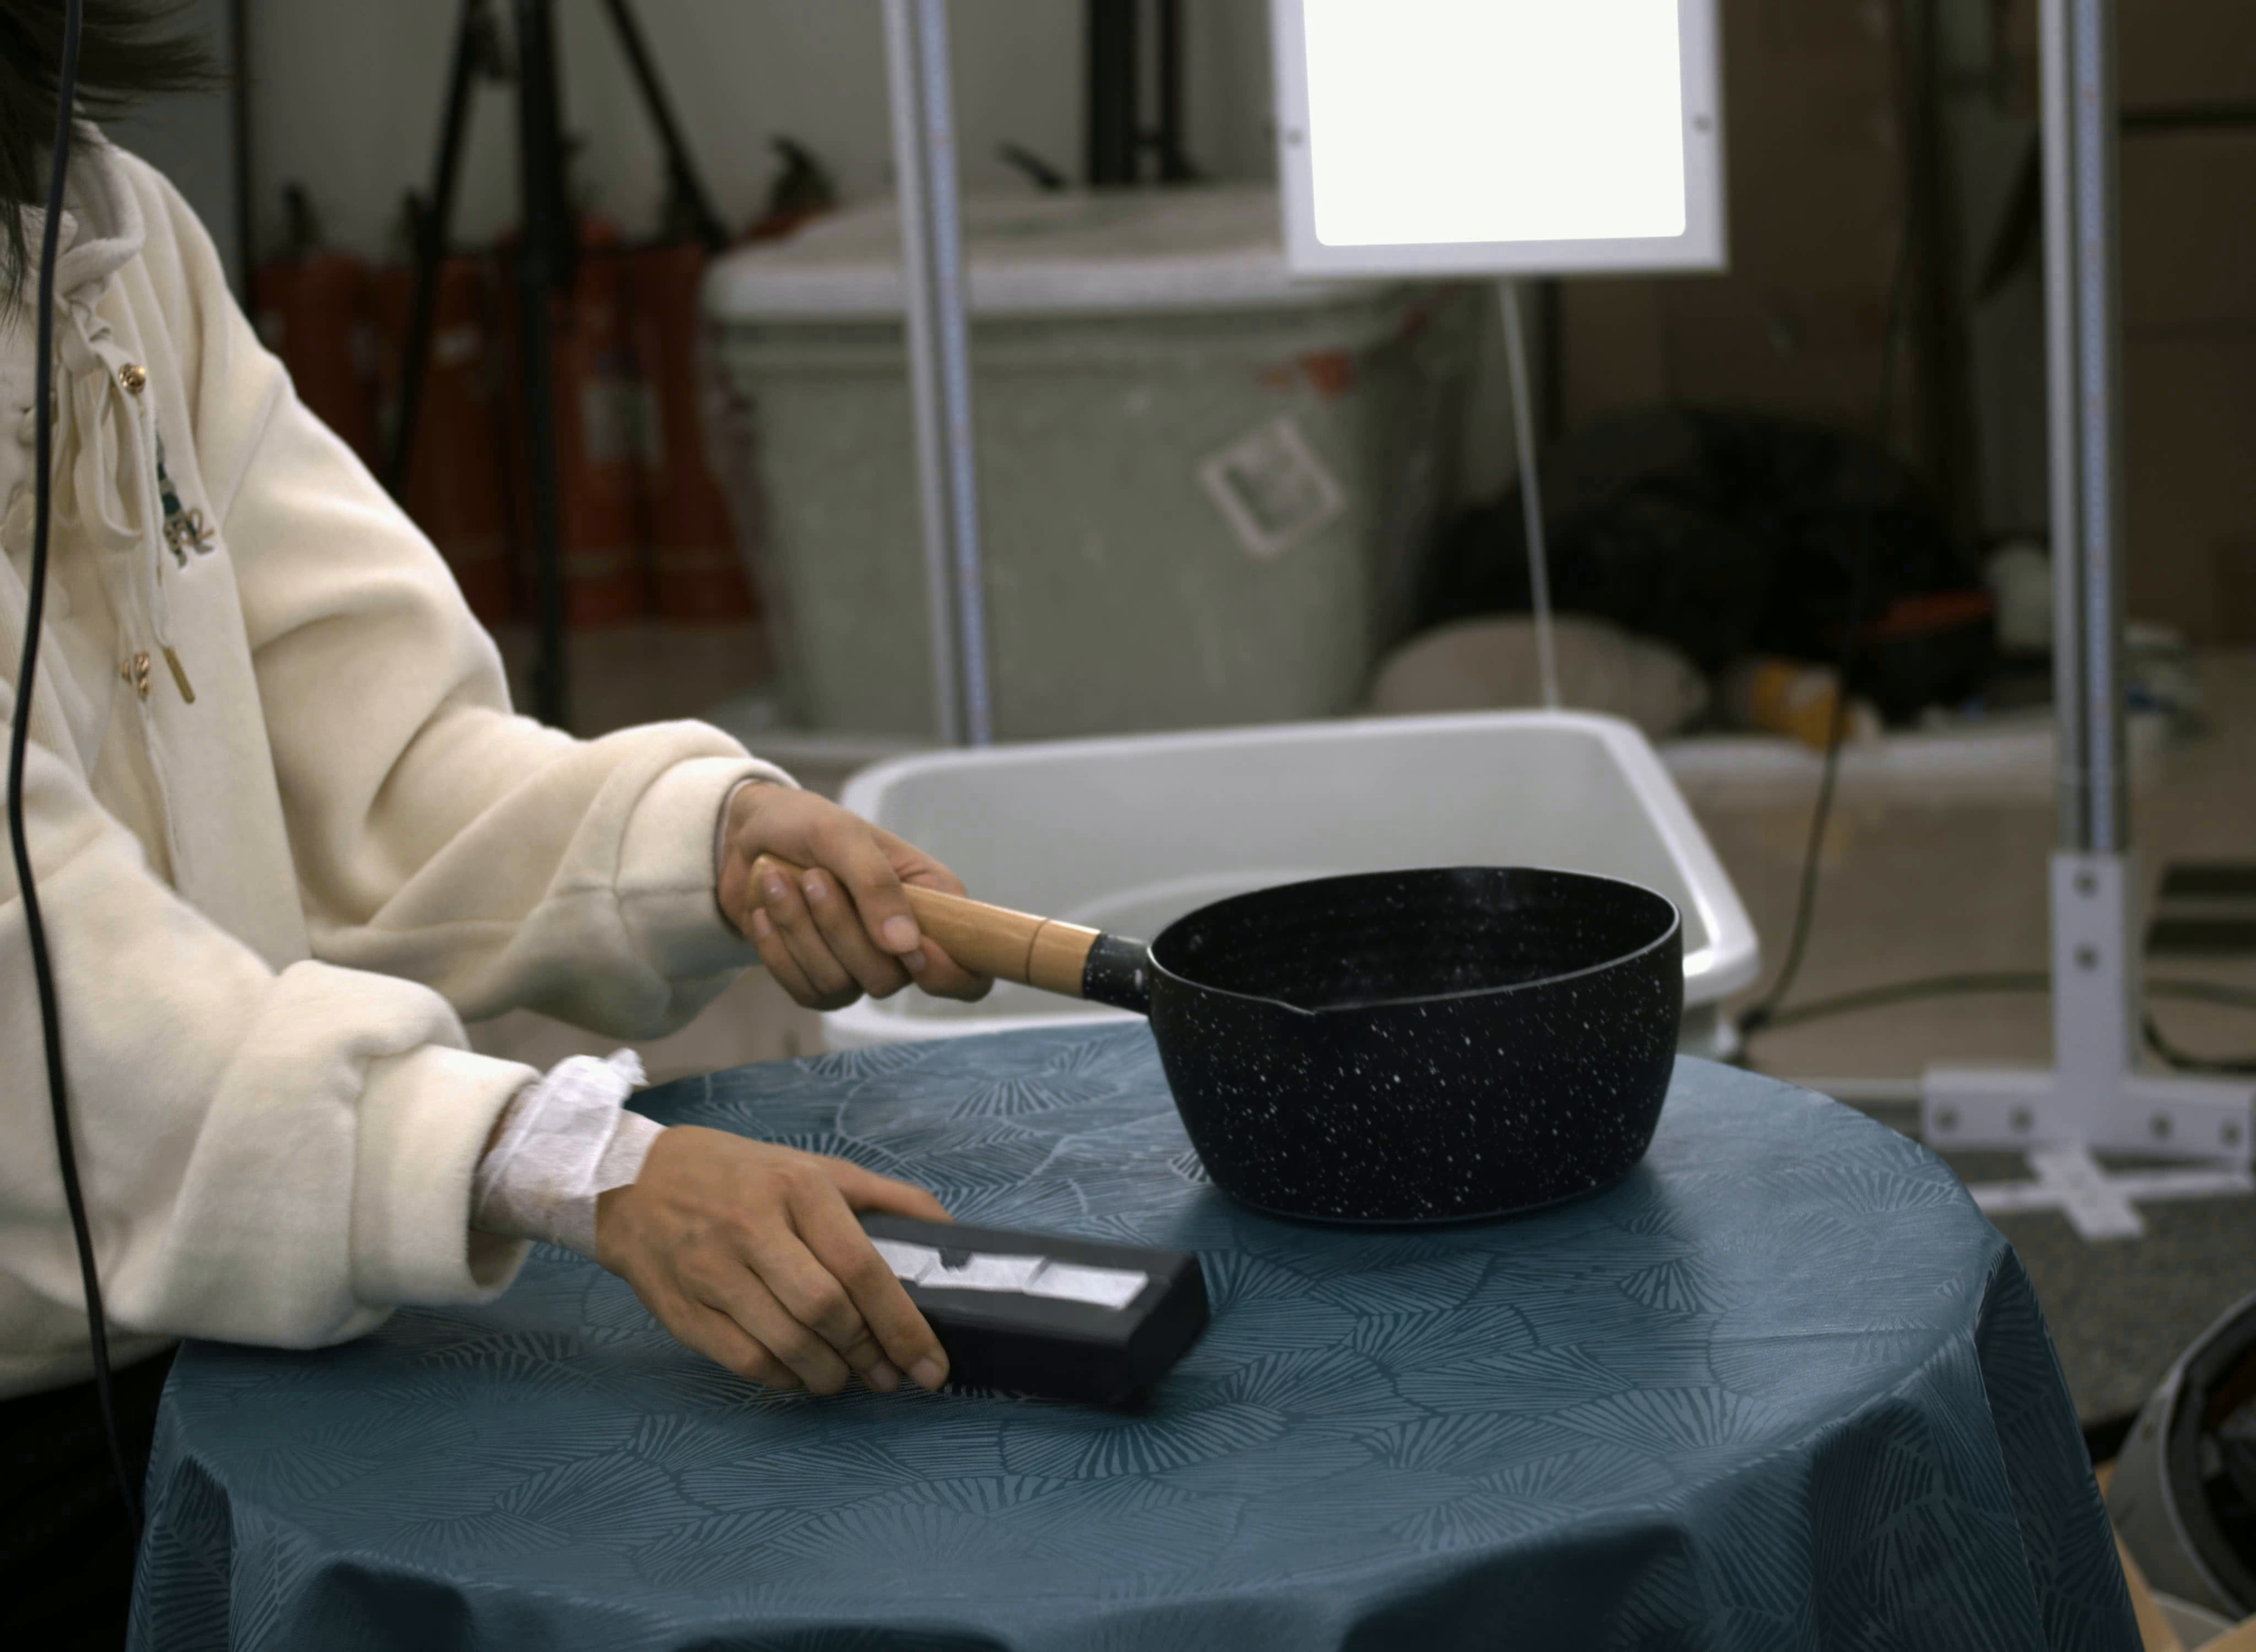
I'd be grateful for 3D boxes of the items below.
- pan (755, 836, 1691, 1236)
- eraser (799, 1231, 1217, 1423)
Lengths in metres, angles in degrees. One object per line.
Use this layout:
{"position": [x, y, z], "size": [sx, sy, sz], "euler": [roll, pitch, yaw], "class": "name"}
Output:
{"position": [0.028, 0.064, 1.914], "size": [0.348, 0.108, 0.203], "euler": [2, 16, 22], "class": "pan"}
{"position": [-0.036, 0.155, 1.713], "size": [0.128, 0.030, 0.052], "euler": [5, 30, 32], "class": "eraser"}
